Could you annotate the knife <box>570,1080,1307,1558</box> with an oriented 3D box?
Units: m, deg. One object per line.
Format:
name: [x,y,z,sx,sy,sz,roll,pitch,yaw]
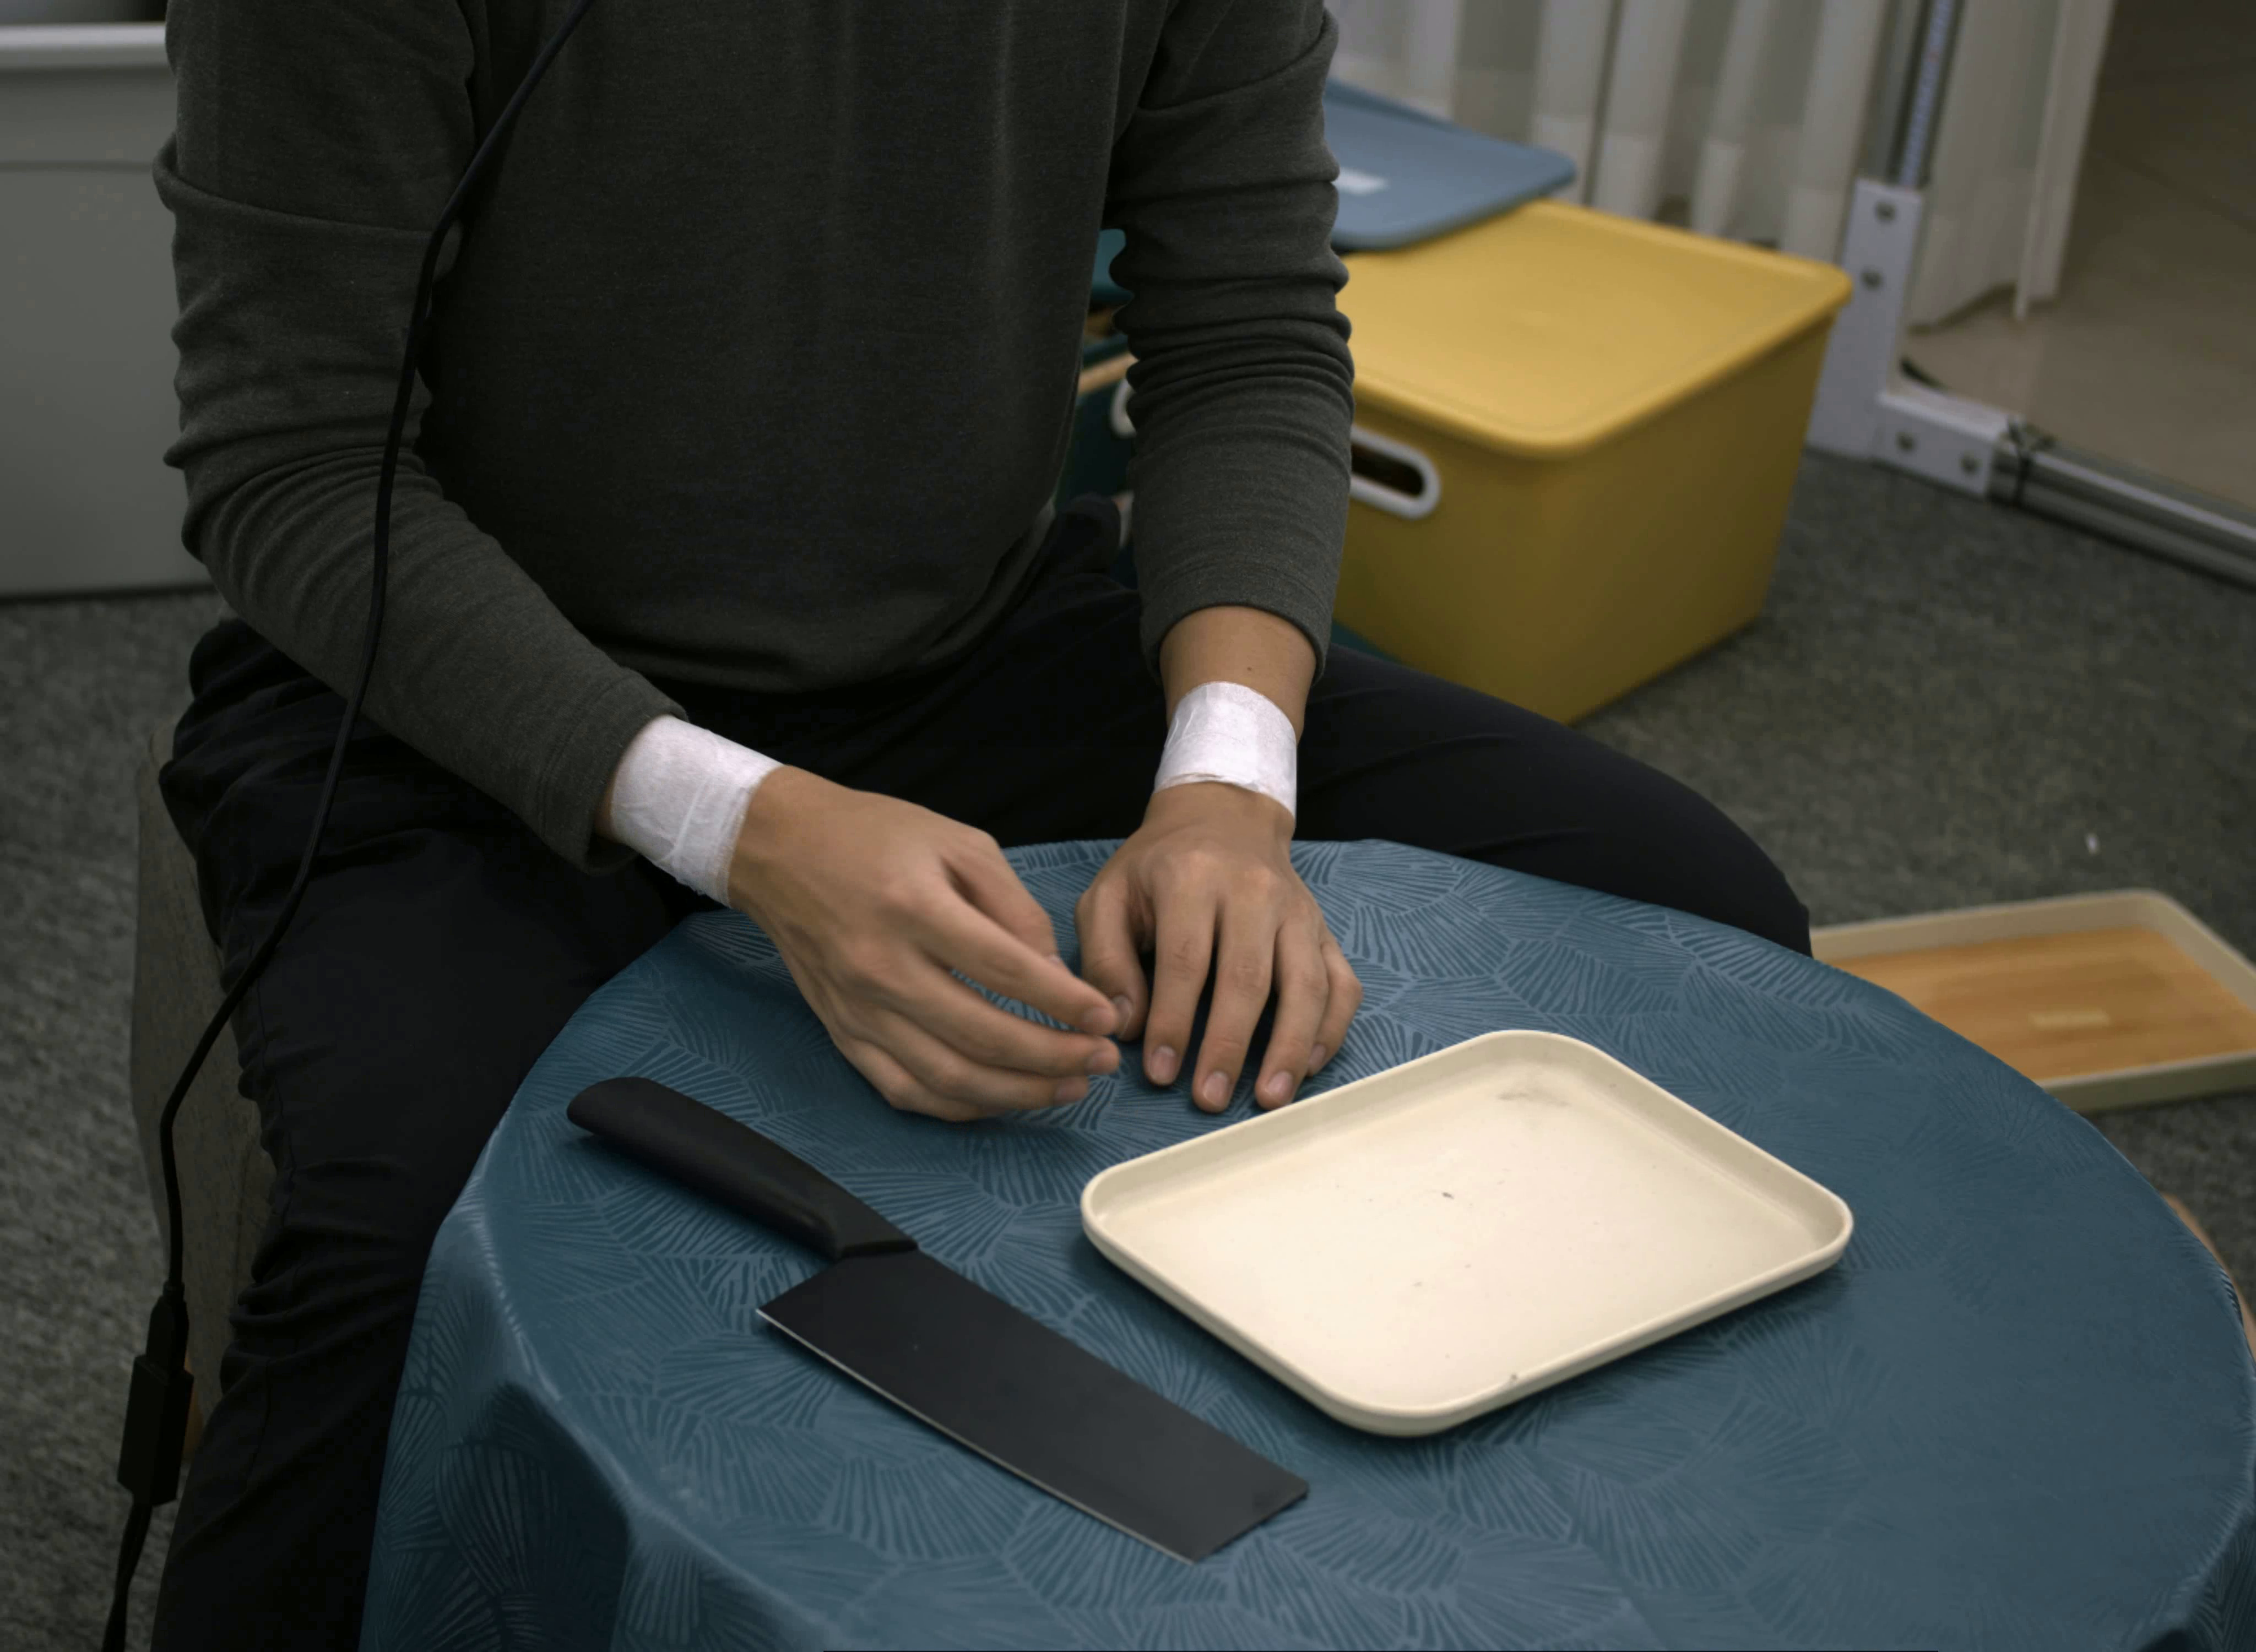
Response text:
knife: [-0.073,0.155,1.712,0.080,0.021,0.304,-21,39,-41]

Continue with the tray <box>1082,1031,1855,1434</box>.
tray: [0.115,0.135,1.789,0.238,0.017,0.172,-17,34,-38]
